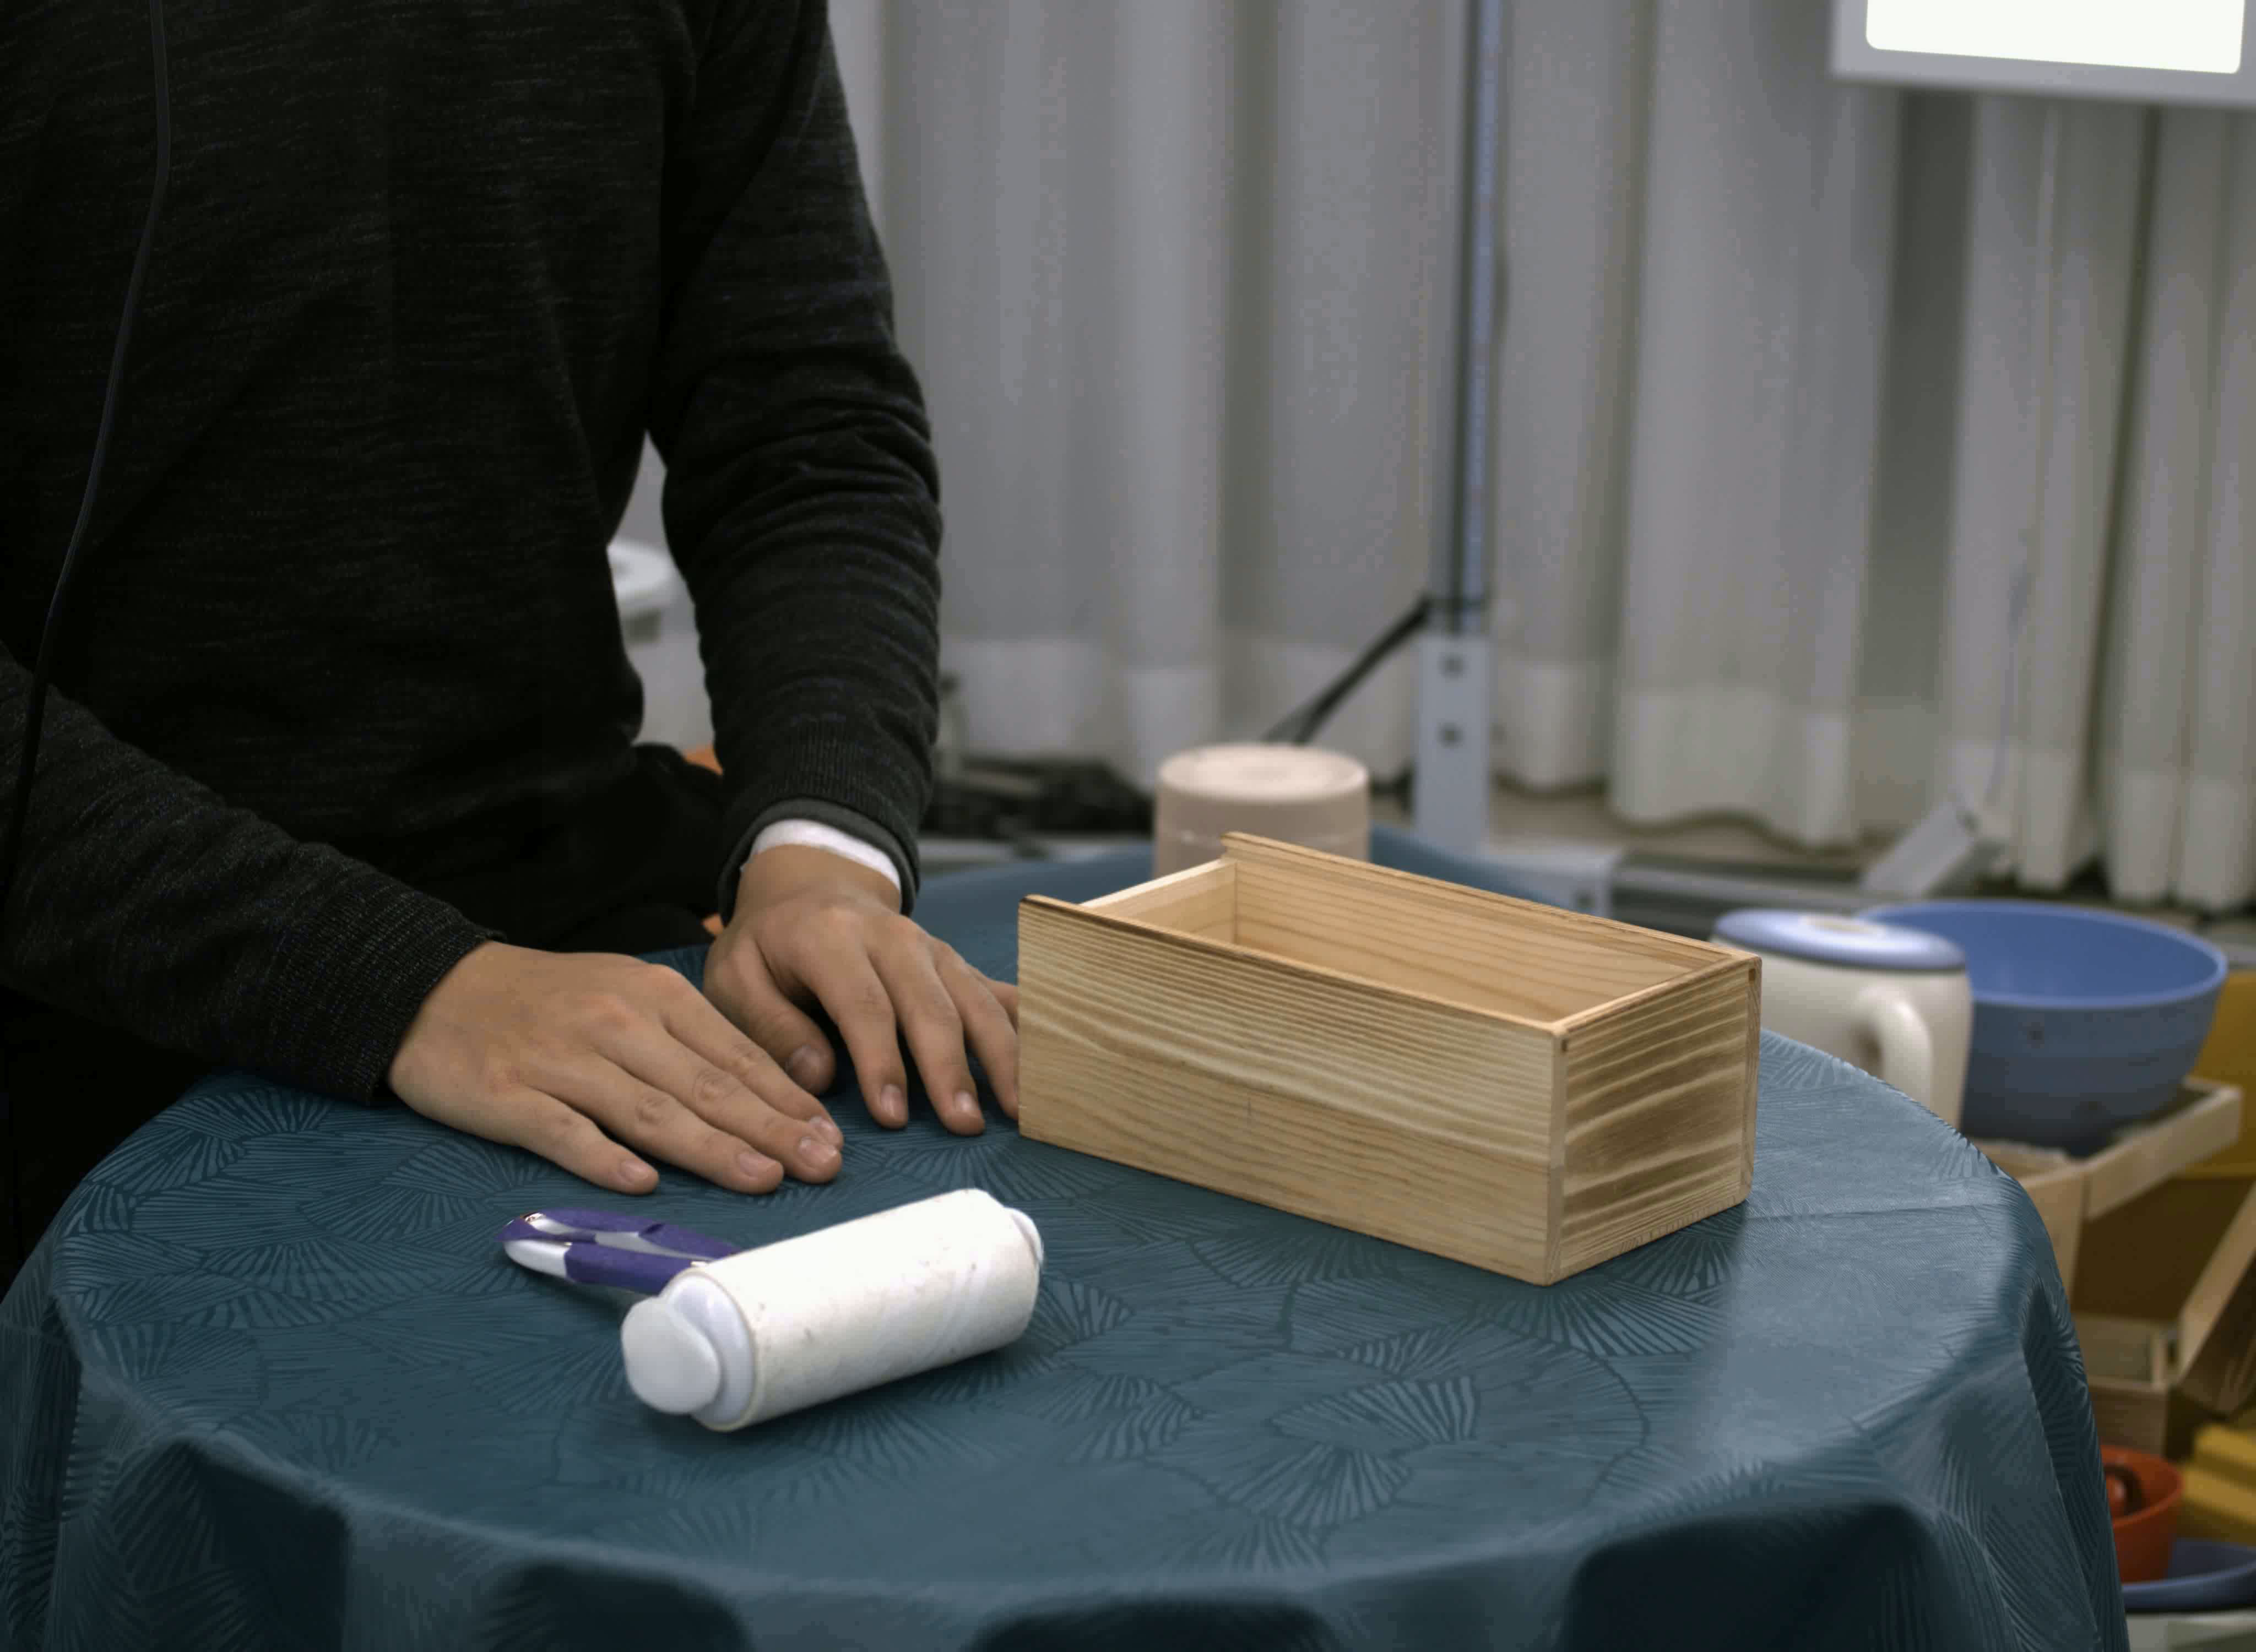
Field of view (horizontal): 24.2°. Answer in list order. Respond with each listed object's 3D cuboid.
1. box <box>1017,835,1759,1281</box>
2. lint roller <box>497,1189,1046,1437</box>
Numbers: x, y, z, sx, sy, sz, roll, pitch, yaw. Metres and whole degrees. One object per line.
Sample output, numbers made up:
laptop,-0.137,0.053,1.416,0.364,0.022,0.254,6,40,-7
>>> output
box,0.079,0.069,1.632,0.208,0.081,0.108,12,20,39
lint roller,-0.121,0.119,1.502,0.133,0.050,0.178,-14,23,-39
